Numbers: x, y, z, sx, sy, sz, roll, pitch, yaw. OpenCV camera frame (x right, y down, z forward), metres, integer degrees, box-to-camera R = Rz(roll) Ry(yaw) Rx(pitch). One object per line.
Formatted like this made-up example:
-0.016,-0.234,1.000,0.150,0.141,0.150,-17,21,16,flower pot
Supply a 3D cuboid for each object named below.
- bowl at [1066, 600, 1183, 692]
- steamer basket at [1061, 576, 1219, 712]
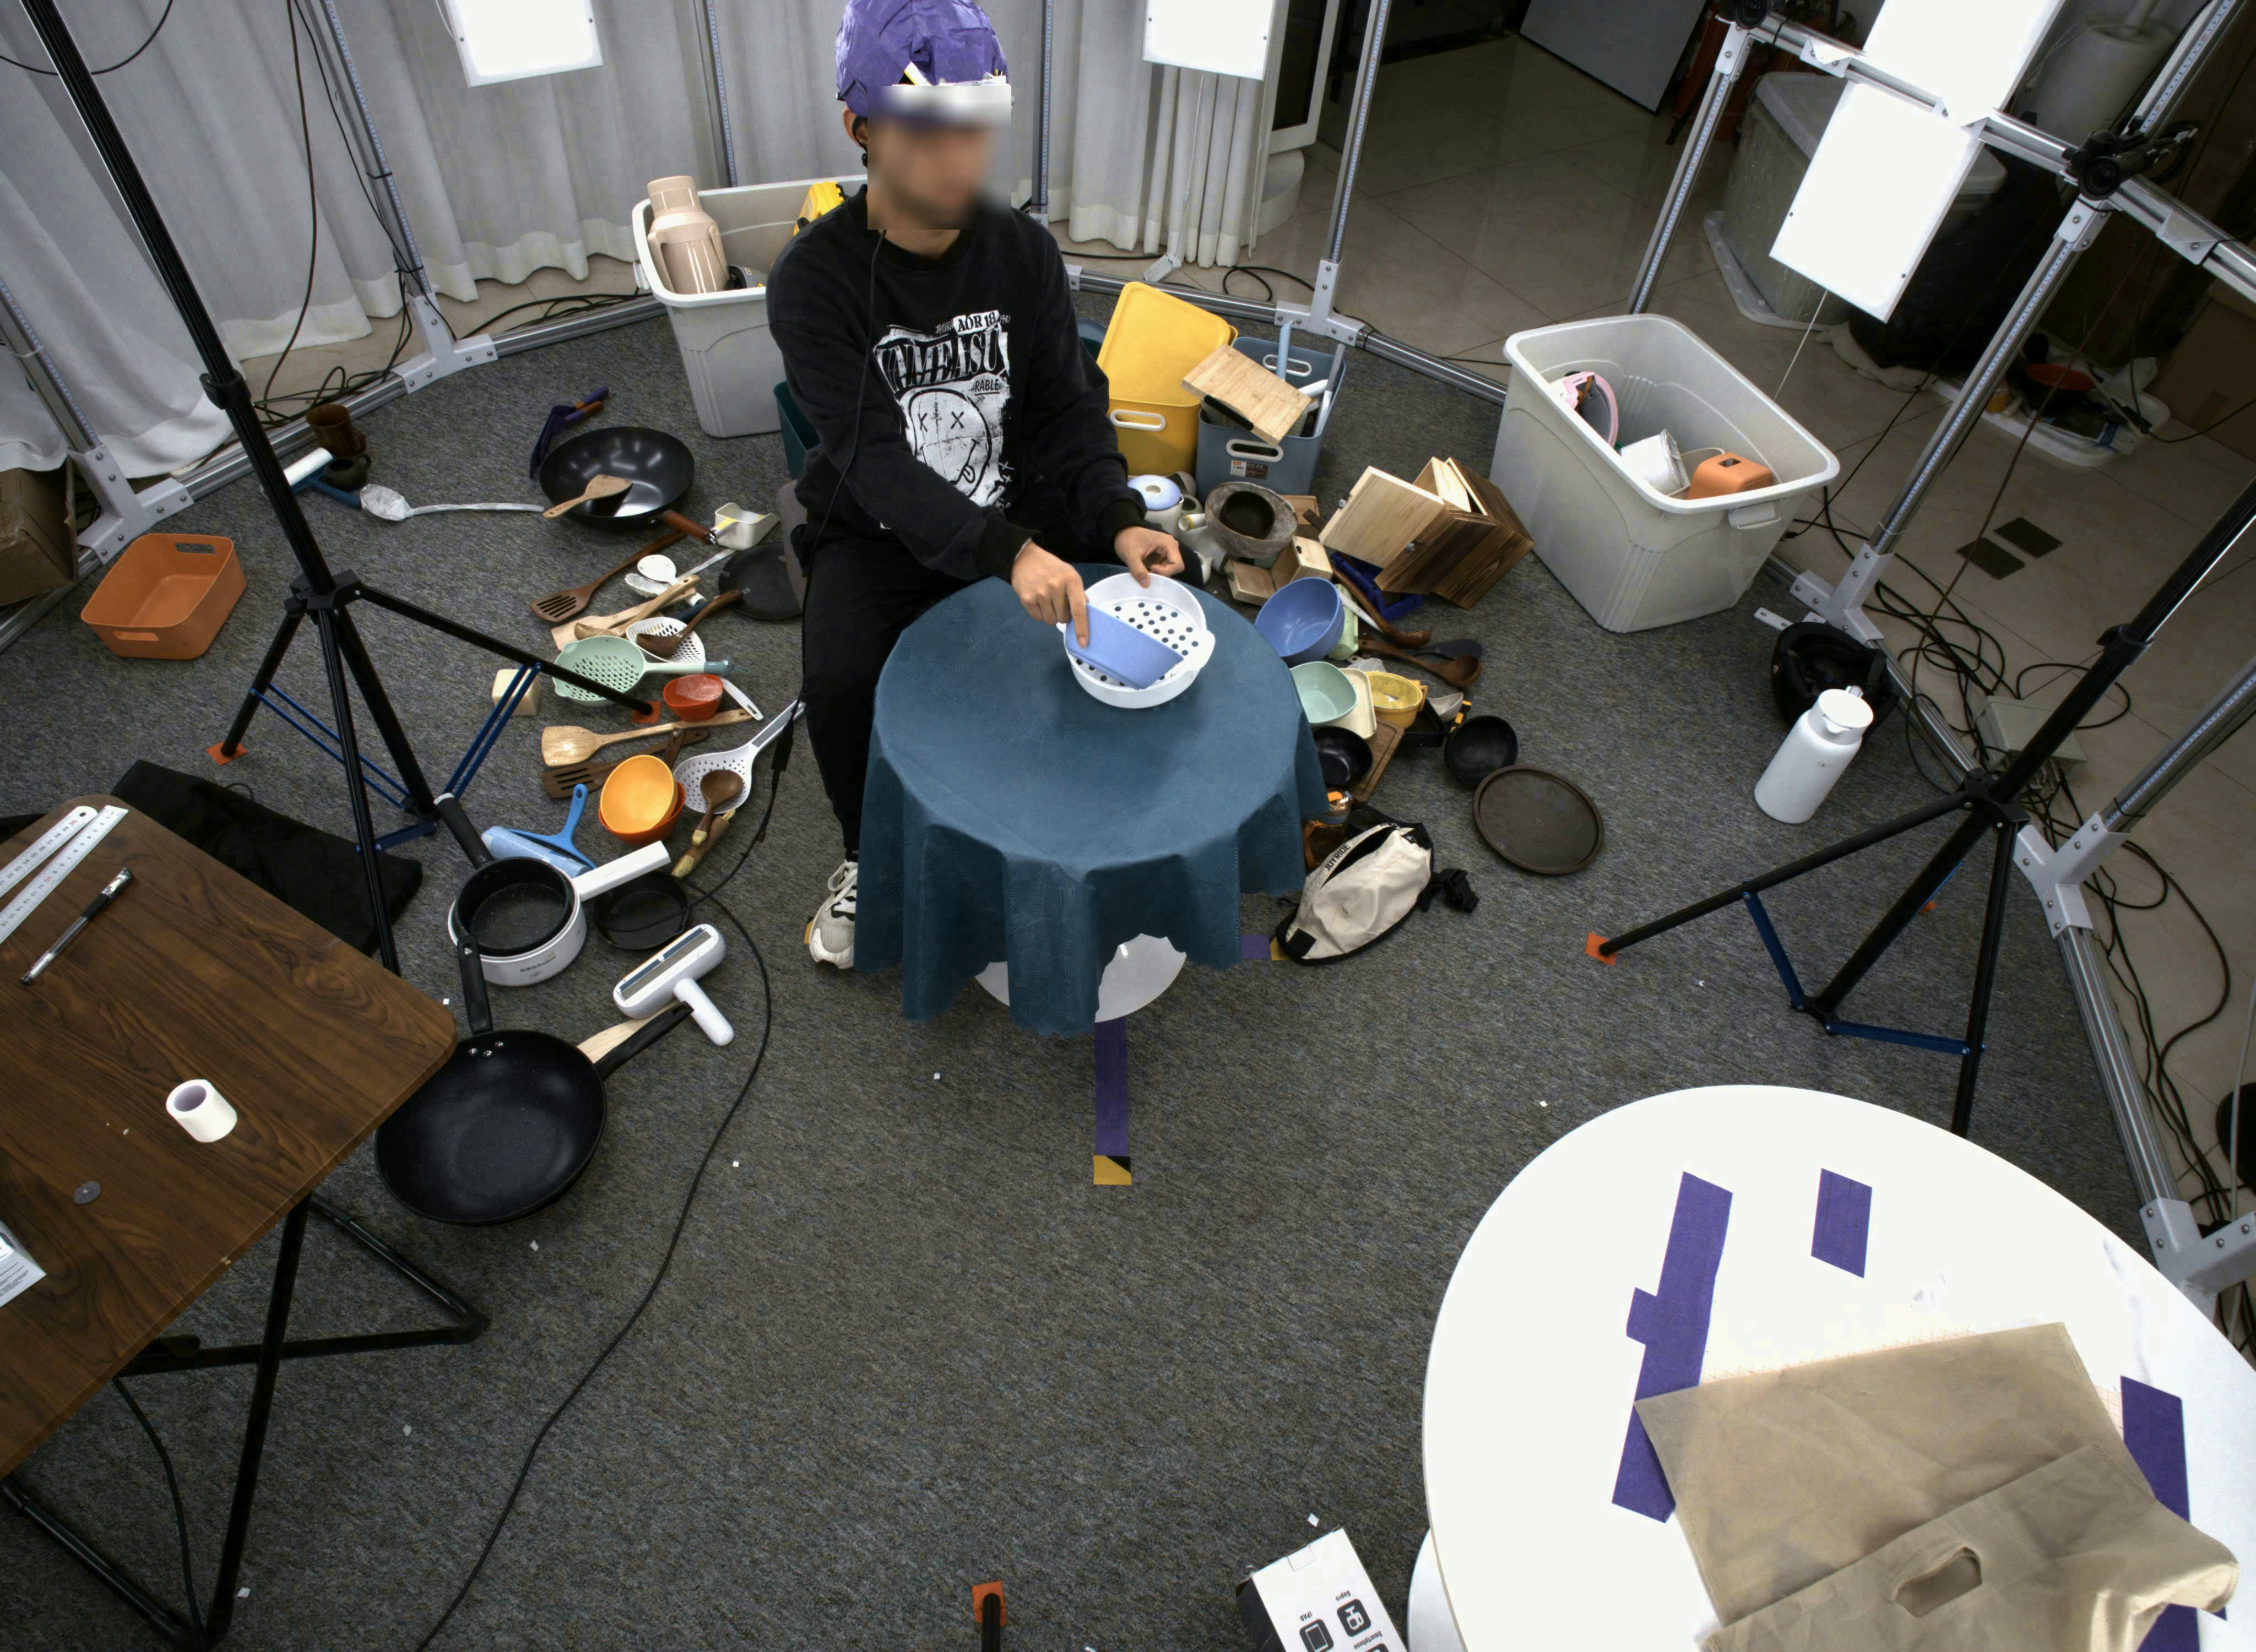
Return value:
-0.017,-0.236,1.732,0.178,0.174,0.070,29,94,19,bowl
0.018,-0.260,1.844,0.232,0.068,0.205,18,65,13,steamer basket
